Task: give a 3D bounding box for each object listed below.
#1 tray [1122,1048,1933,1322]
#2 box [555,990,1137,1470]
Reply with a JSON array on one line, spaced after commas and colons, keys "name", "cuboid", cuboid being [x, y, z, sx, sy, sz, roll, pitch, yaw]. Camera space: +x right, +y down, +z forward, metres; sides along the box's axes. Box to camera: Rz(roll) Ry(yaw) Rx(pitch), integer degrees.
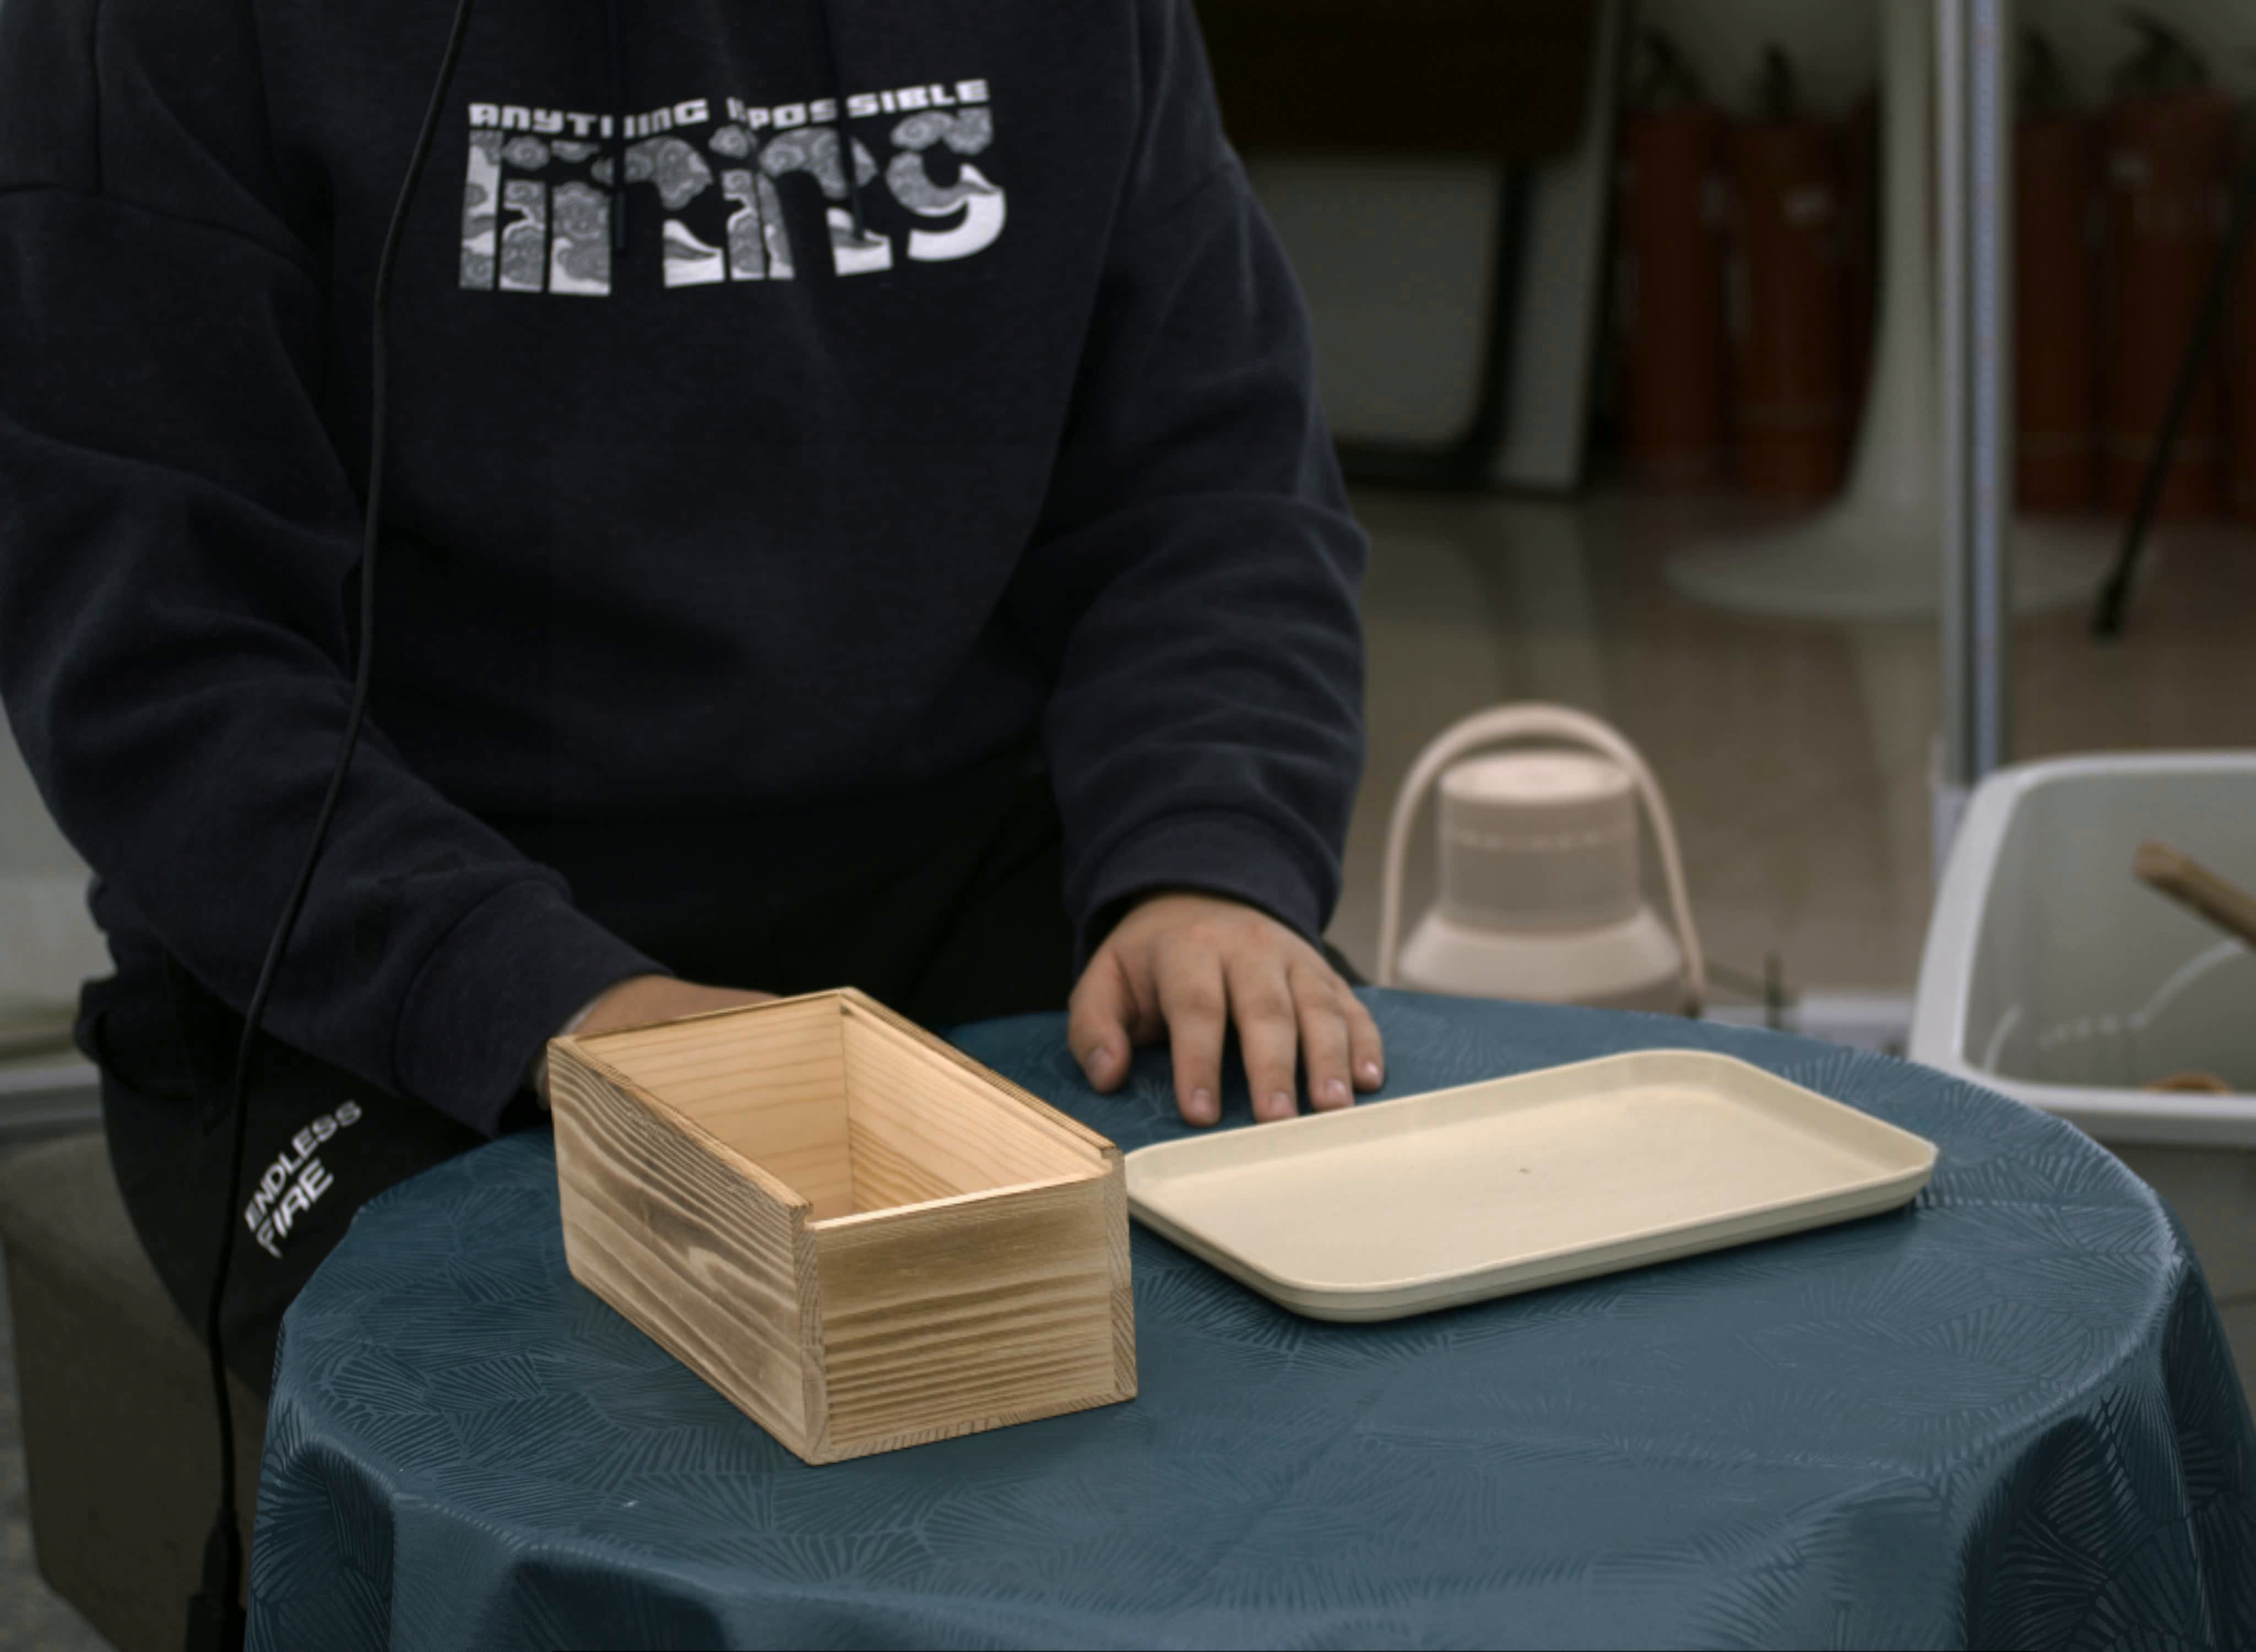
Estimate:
[{"name": "tray", "cuboid": [0.126, 0.115, 1.729, 0.234, 0.017, 0.173, -10, 14, -24]}, {"name": "box", "cuboid": [-0.089, 0.118, 1.644, 0.105, 0.081, 0.213, -9, 14, -23]}]
